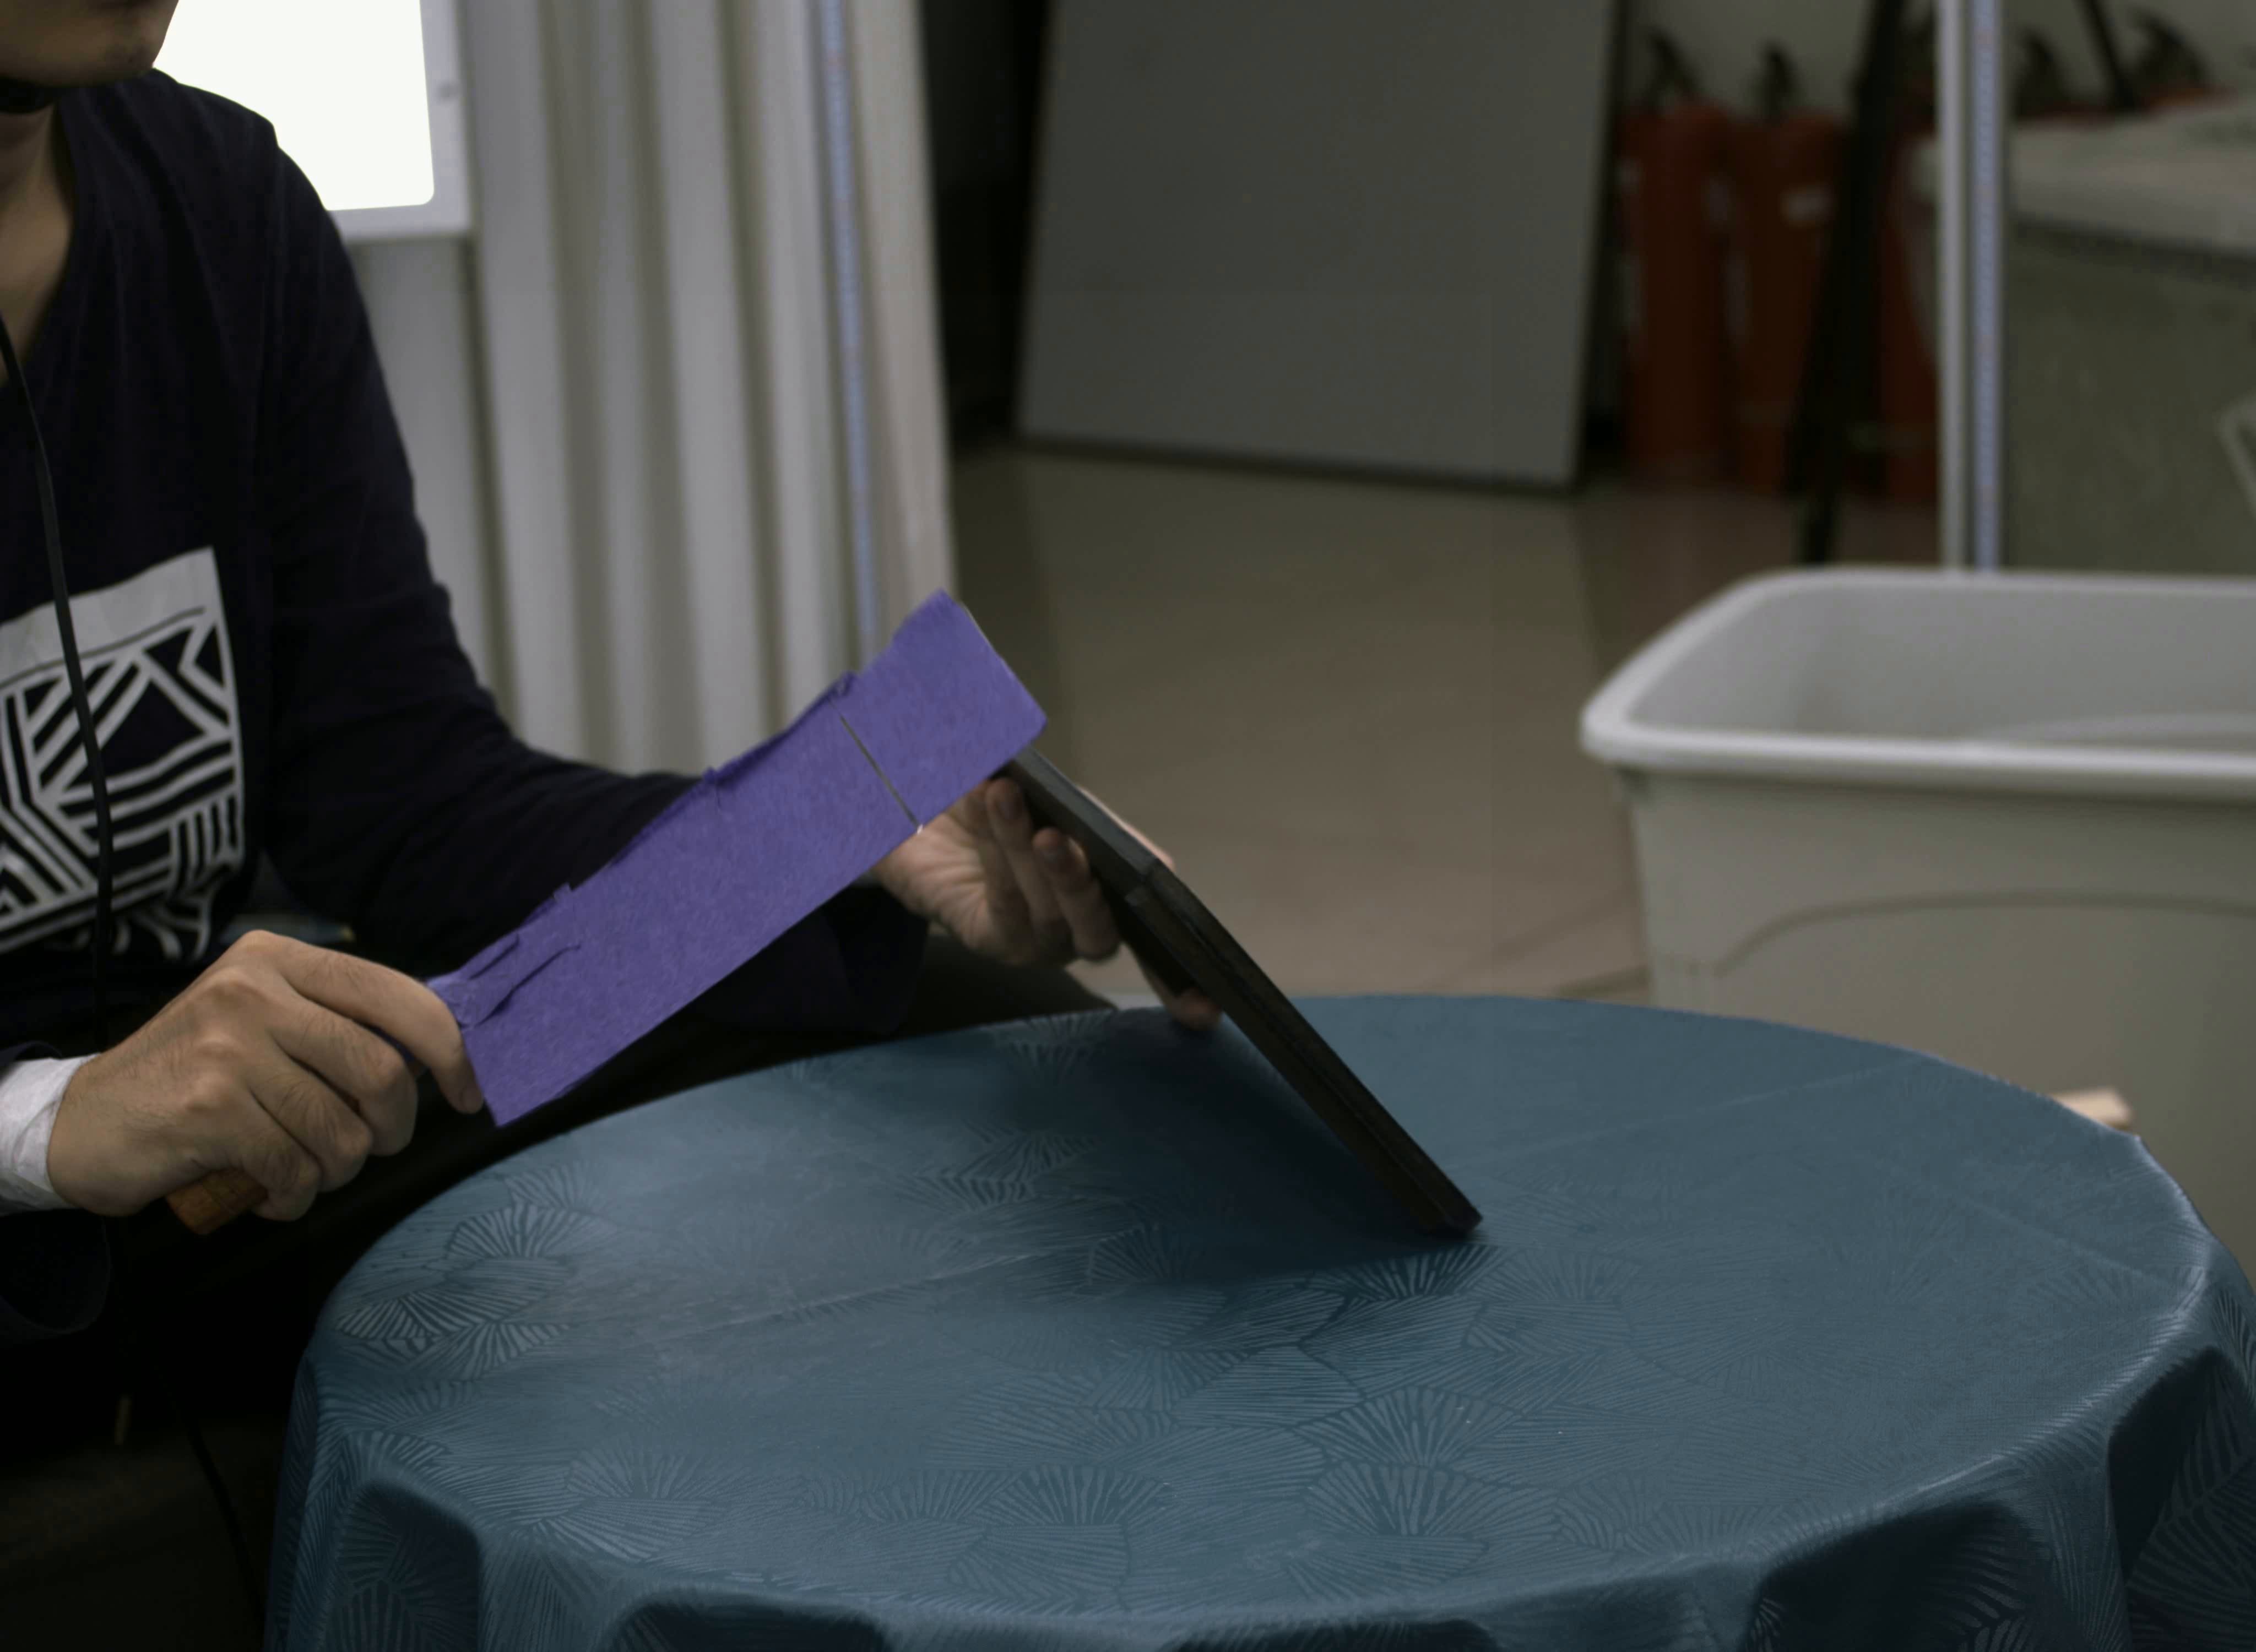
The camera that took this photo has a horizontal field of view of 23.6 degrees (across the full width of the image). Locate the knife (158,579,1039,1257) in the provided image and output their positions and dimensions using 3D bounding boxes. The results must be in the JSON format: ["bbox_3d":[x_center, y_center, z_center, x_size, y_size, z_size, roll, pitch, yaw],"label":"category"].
[{"bbox_3d":[-0.162,0.039,1.643,0.315,0.032,0.105,-39,30,4],"label":"knife"}]

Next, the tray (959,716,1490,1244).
[{"bbox_3d":[0.017,0.040,1.807,0.018,0.169,0.308,-43,21,-3],"label":"tray"}]
